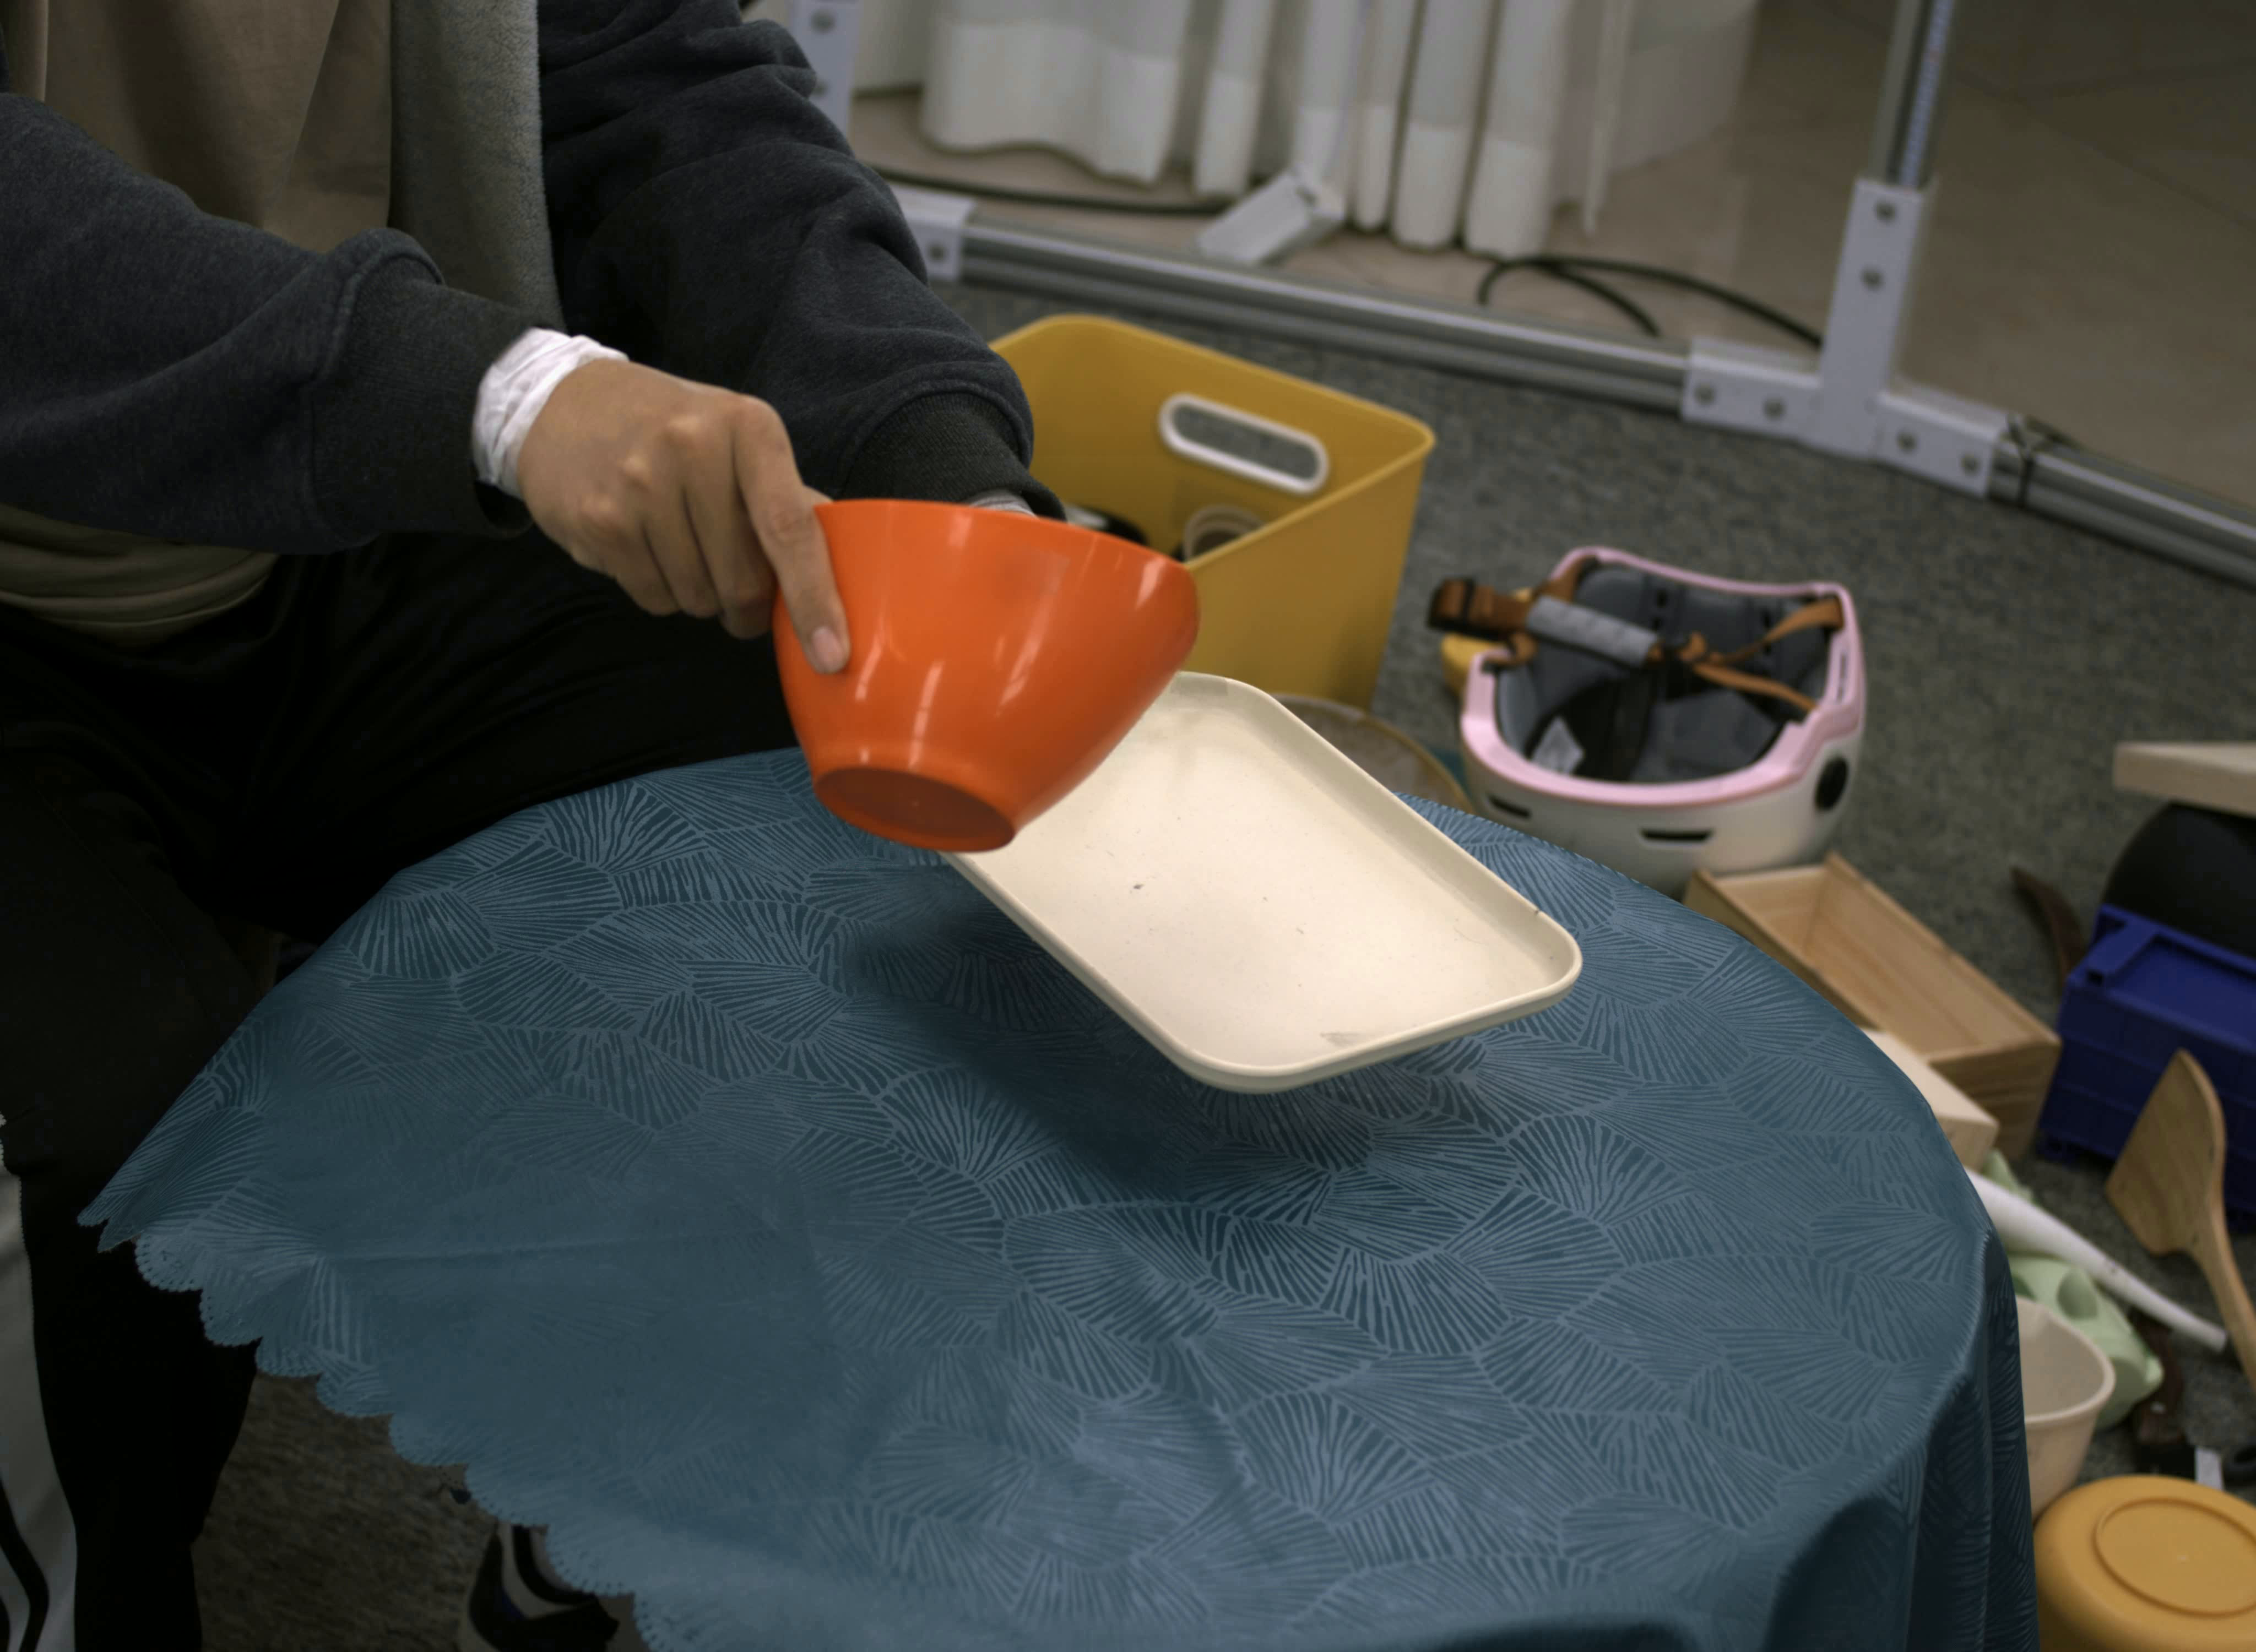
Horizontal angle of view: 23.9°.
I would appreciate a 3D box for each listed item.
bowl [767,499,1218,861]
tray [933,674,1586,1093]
[{"bbox_3d":[-0.054,-0.044,1.715,0.148,0.147,0.105,12,70,10],"label":"bowl"},{"bbox_3d":[0.035,0.019,1.893,0.170,0.017,0.242,-15,37,-31],"label":"tray"}]
